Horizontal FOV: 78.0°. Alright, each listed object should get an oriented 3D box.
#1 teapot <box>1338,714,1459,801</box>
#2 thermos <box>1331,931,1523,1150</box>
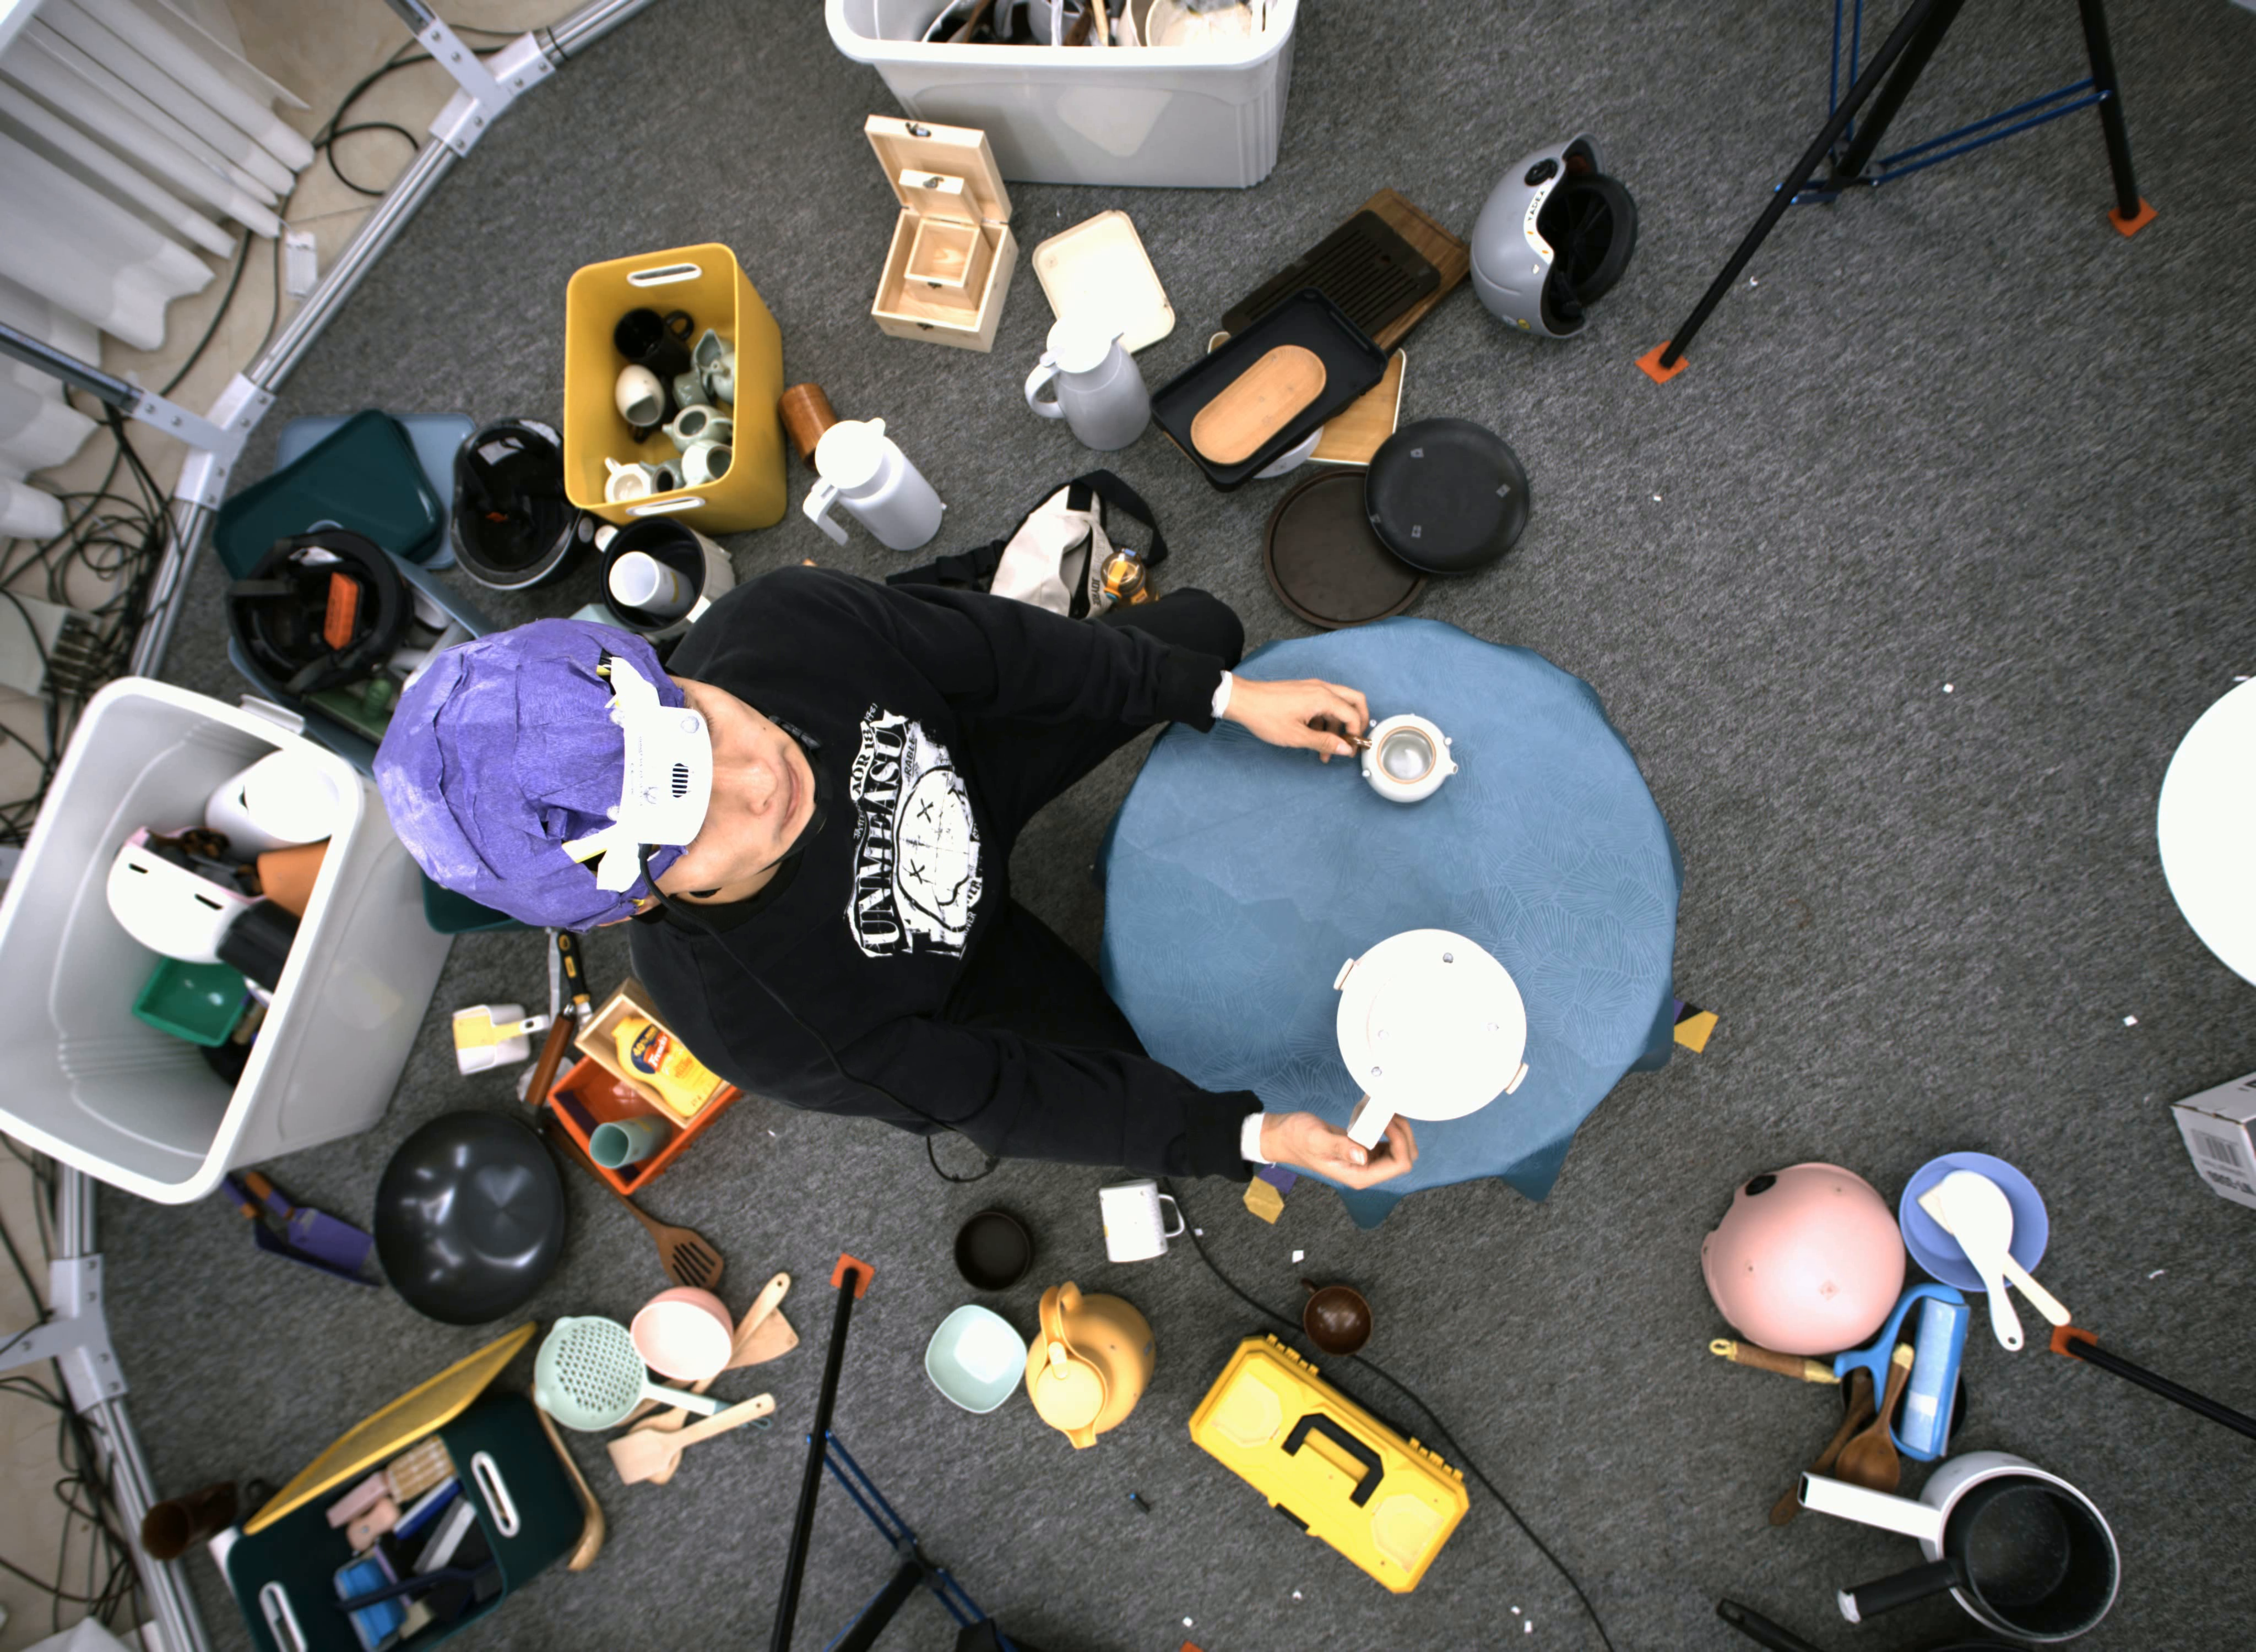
[{"bbox_3d":[0.282,-0.076,1.436,0.128,0.059,0.092,15,93,11],"label":"teapot"},{"bbox_3d":[0.259,0.190,1.257,0.175,0.407,0.207,30,90,10],"label":"thermos"}]
